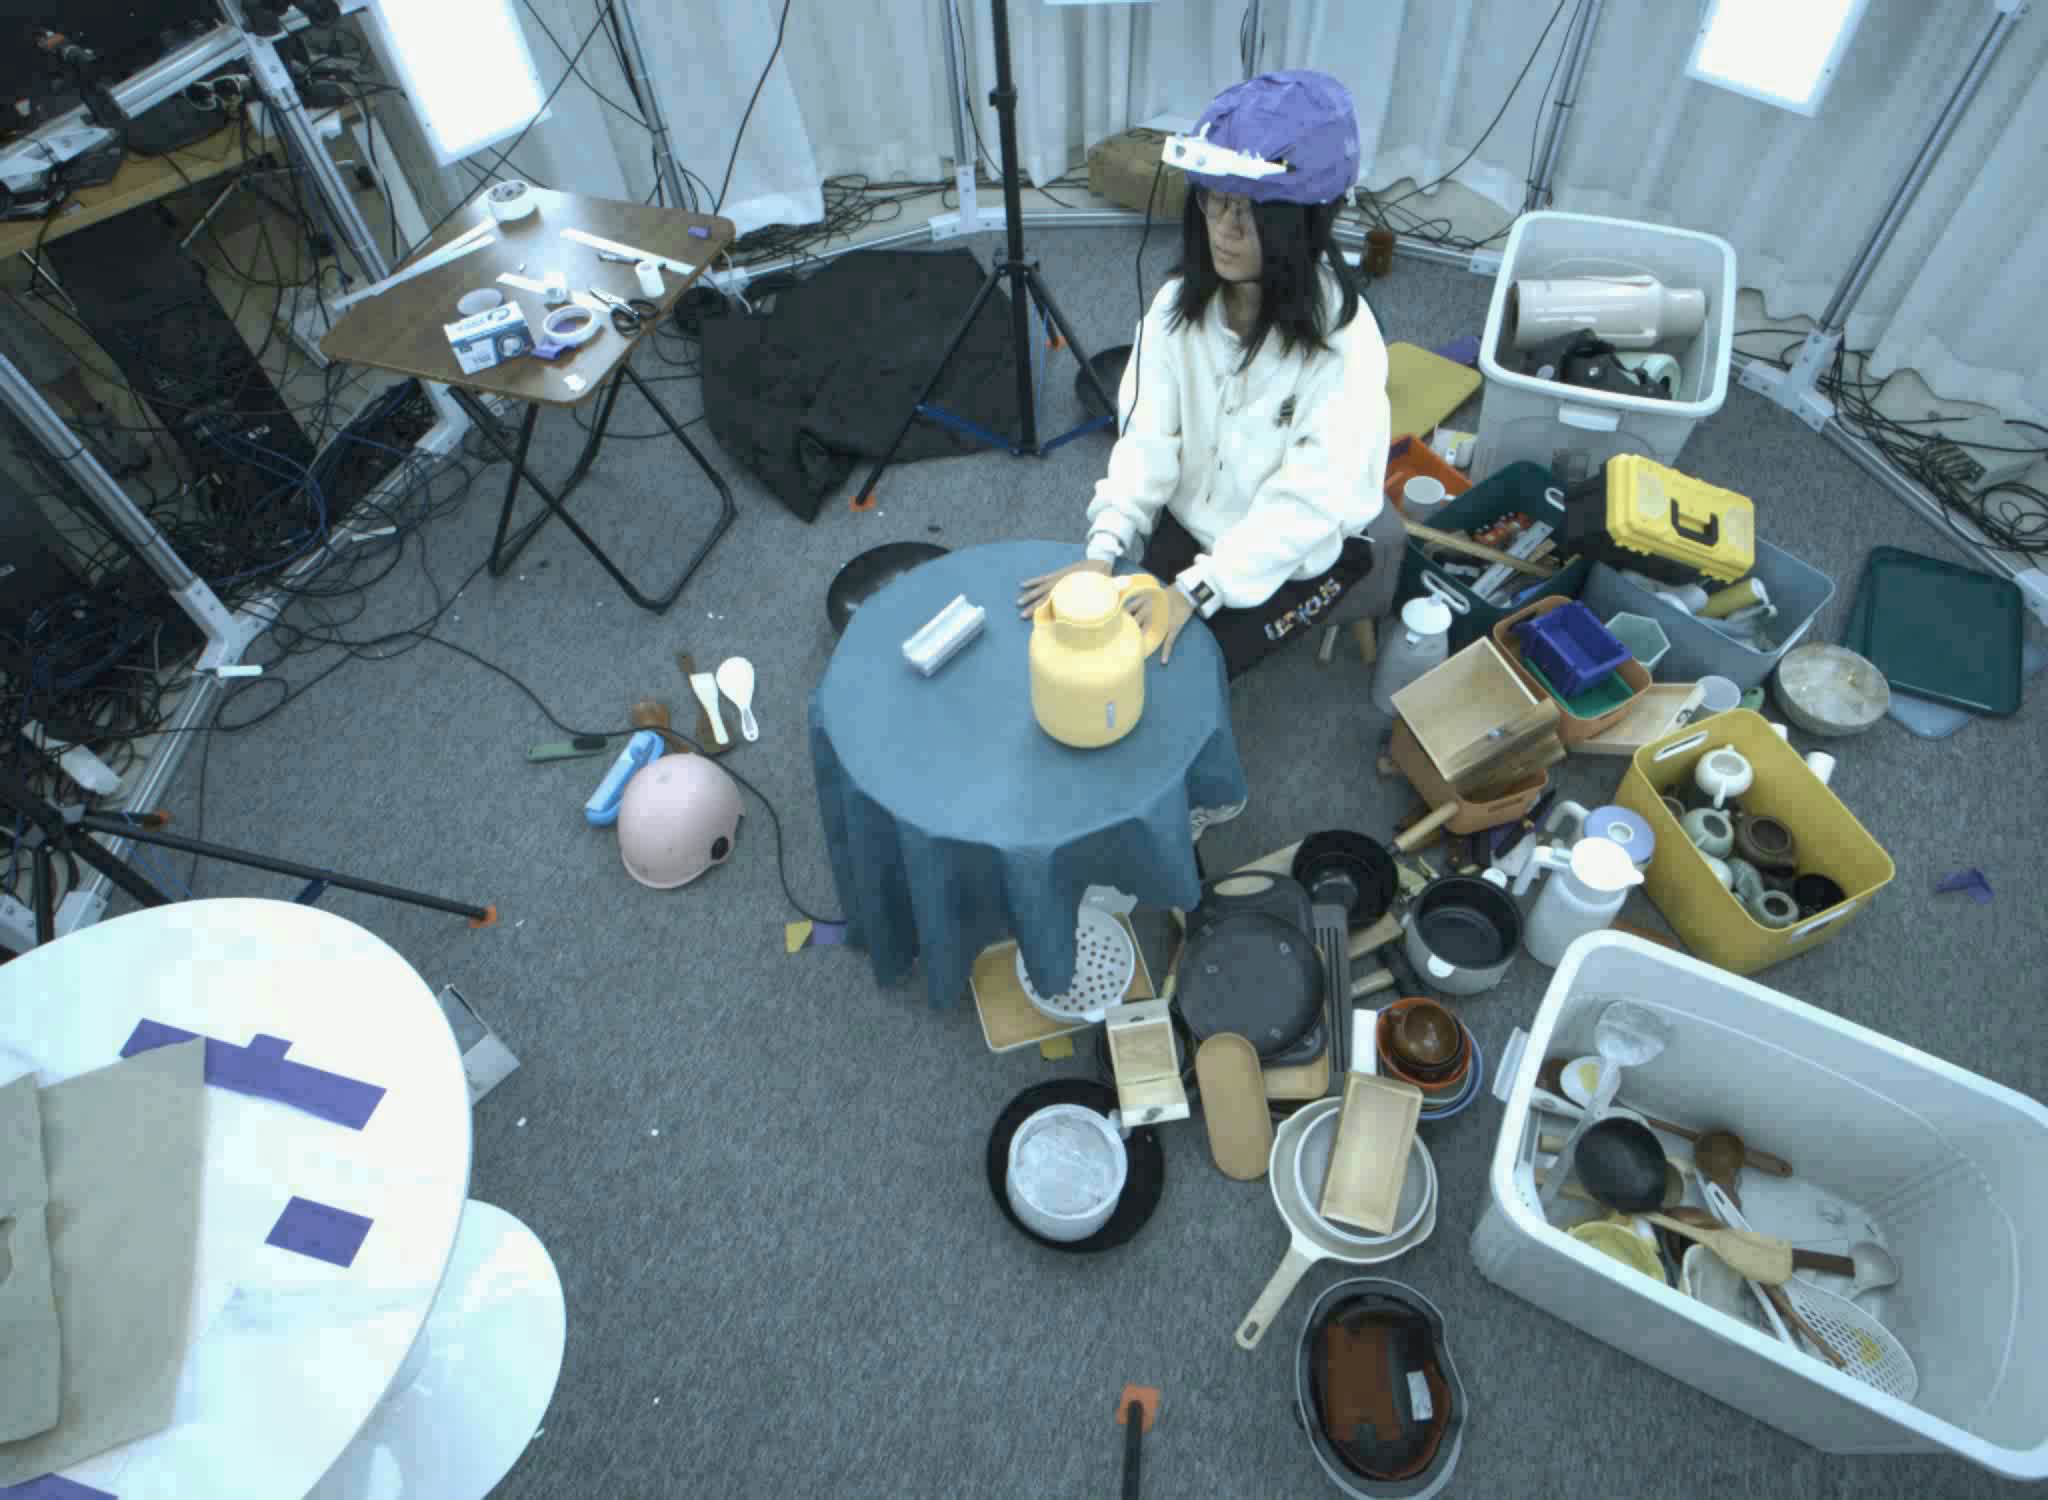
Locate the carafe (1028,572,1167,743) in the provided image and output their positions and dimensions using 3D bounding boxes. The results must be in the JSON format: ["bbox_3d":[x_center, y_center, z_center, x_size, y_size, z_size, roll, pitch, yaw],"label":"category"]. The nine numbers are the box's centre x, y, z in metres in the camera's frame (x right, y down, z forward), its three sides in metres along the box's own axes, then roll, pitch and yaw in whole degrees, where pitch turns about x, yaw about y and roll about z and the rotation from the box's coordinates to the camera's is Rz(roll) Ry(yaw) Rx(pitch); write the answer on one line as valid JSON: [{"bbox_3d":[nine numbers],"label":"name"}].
[{"bbox_3d":[0.104,-0.141,1.720,0.203,0.263,0.161,-21,59,-10],"label":"carafe"}]

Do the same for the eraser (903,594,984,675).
[{"bbox_3d":[-0.123,-0.177,1.889,0.049,0.047,0.135,30,62,26],"label":"eraser"}]
